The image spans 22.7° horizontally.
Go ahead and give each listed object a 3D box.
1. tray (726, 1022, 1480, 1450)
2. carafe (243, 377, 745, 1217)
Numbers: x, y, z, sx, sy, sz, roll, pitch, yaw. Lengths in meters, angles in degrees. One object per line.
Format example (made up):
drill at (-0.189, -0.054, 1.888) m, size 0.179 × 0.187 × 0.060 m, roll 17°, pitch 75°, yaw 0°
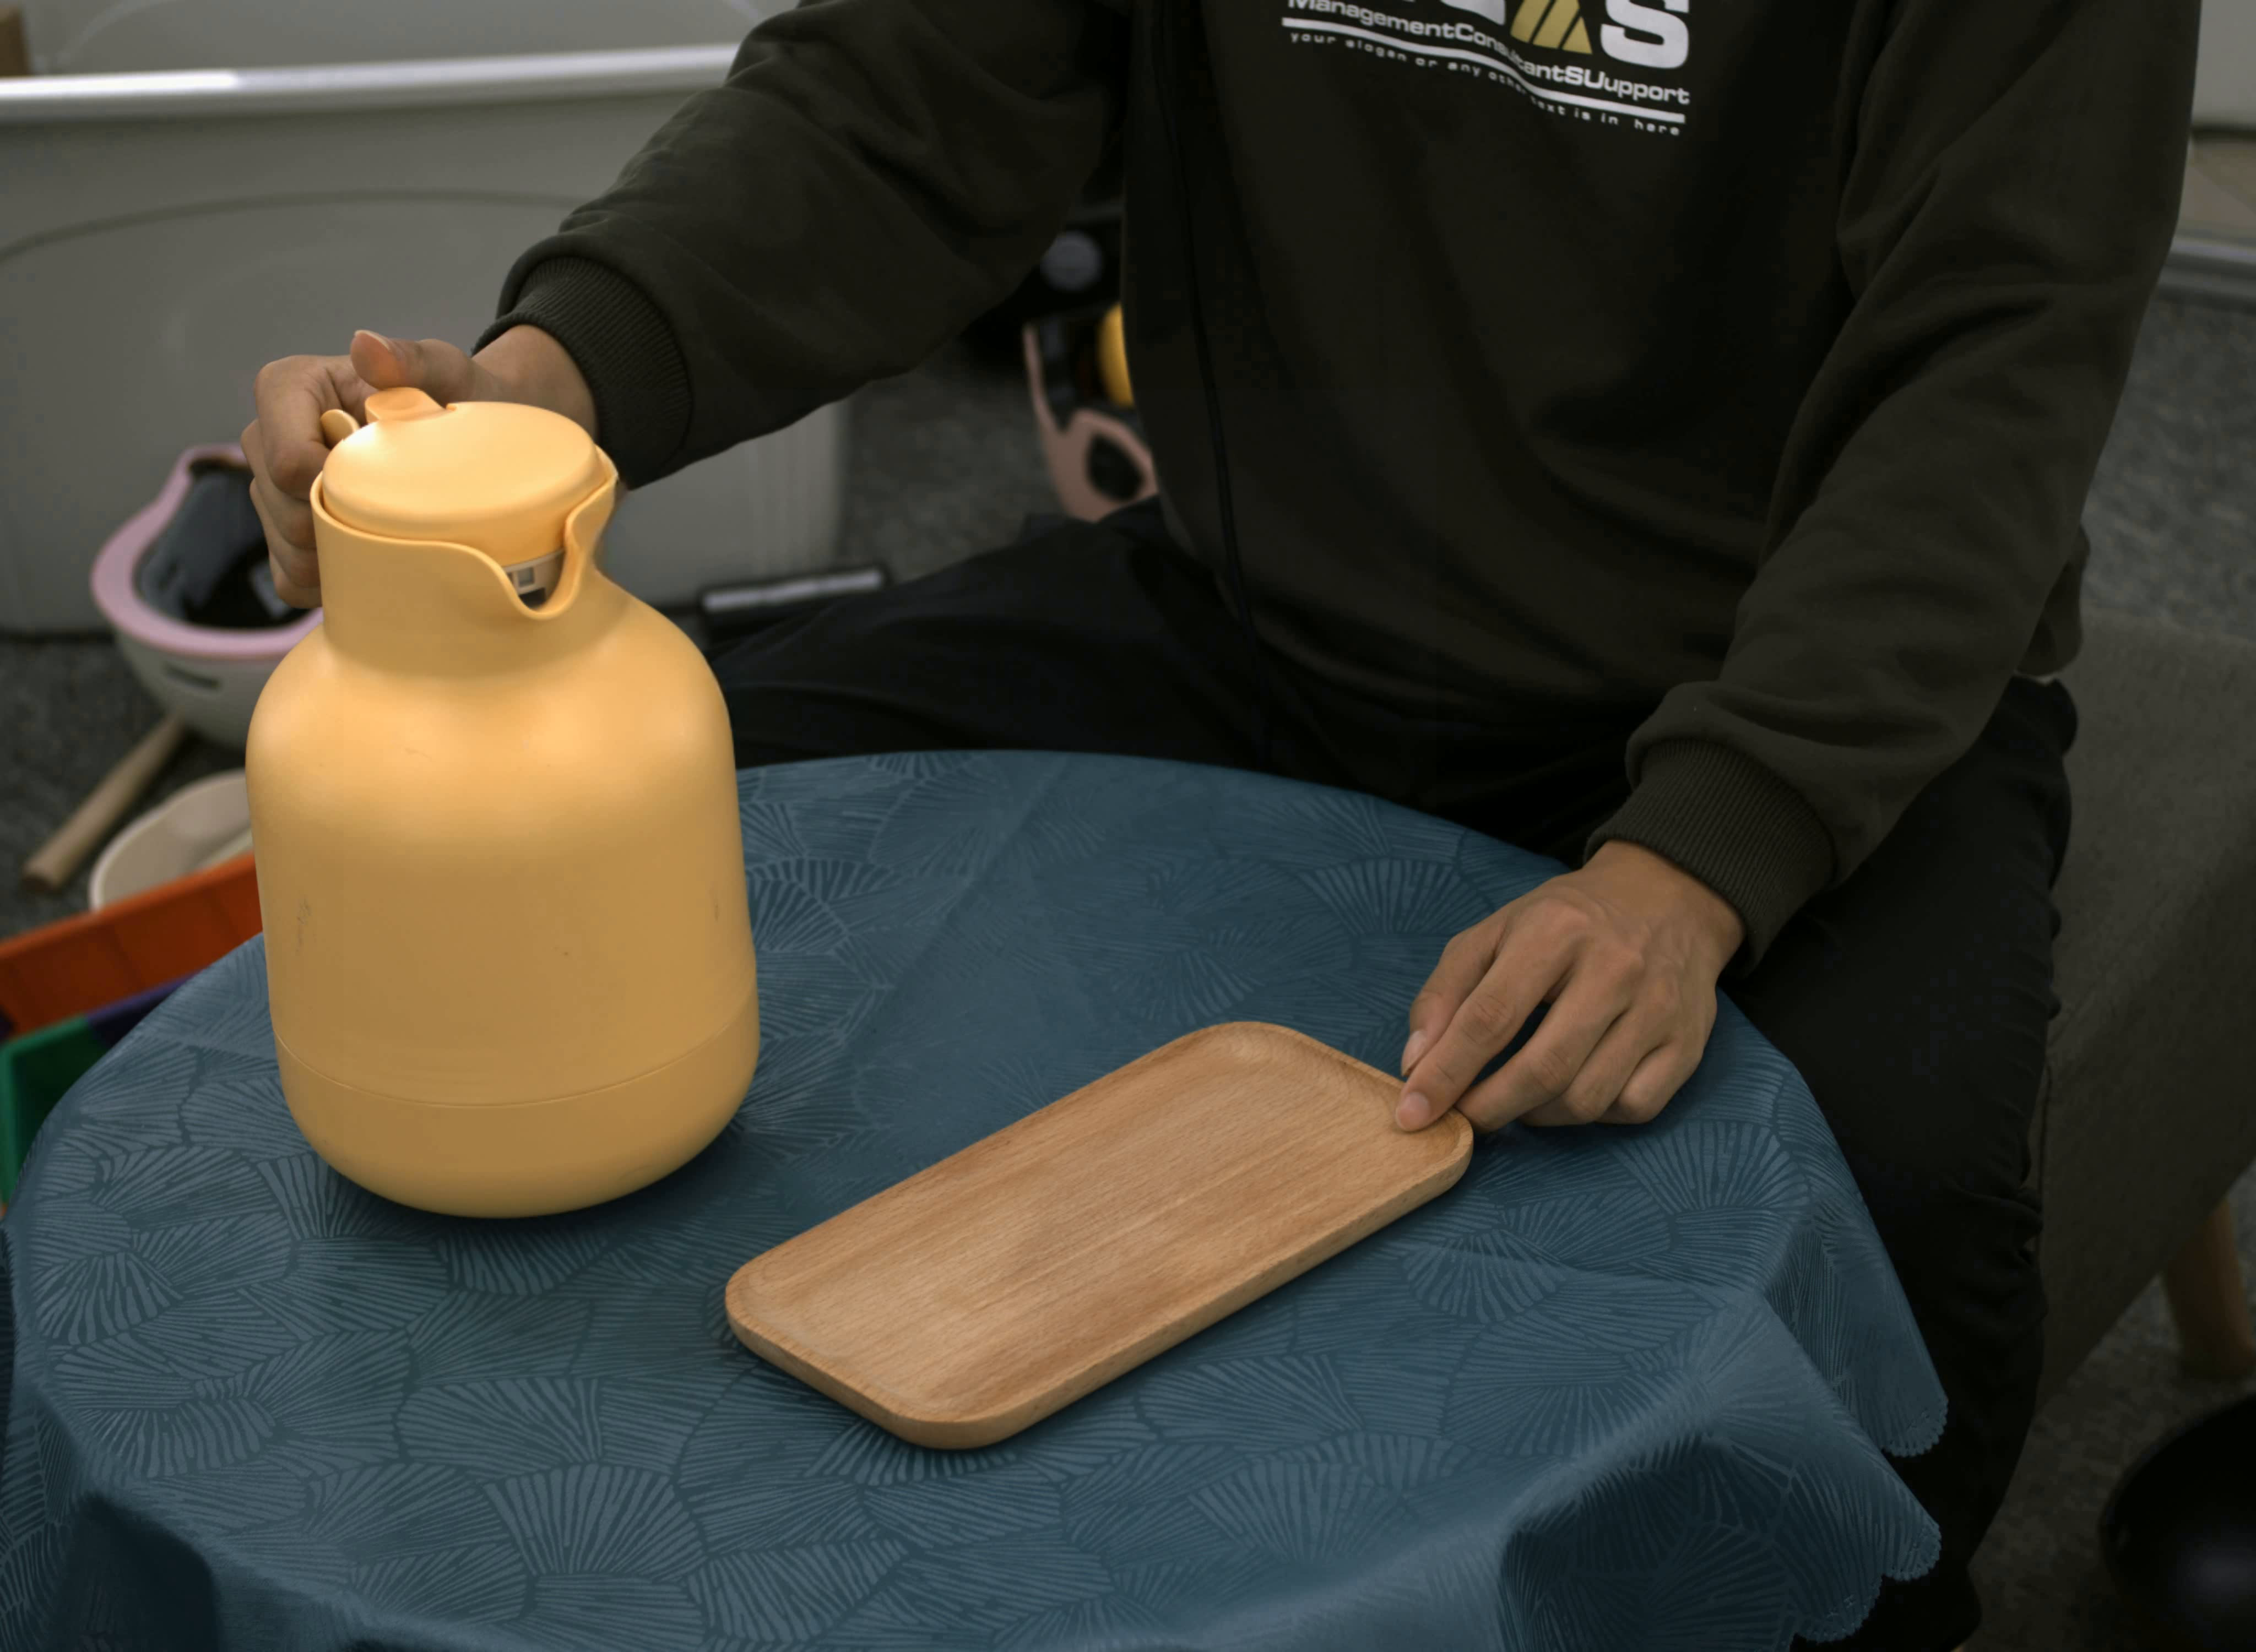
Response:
tray at (-0.006, 0.131, 1.829) m, size 0.253 × 0.022 × 0.130 m, roll -24°, pitch 37°, yaw -37°
carafe at (-0.218, -0.019, 1.874) m, size 0.164 × 0.257 × 0.204 m, roll -11°, pitch 29°, yaw -23°
